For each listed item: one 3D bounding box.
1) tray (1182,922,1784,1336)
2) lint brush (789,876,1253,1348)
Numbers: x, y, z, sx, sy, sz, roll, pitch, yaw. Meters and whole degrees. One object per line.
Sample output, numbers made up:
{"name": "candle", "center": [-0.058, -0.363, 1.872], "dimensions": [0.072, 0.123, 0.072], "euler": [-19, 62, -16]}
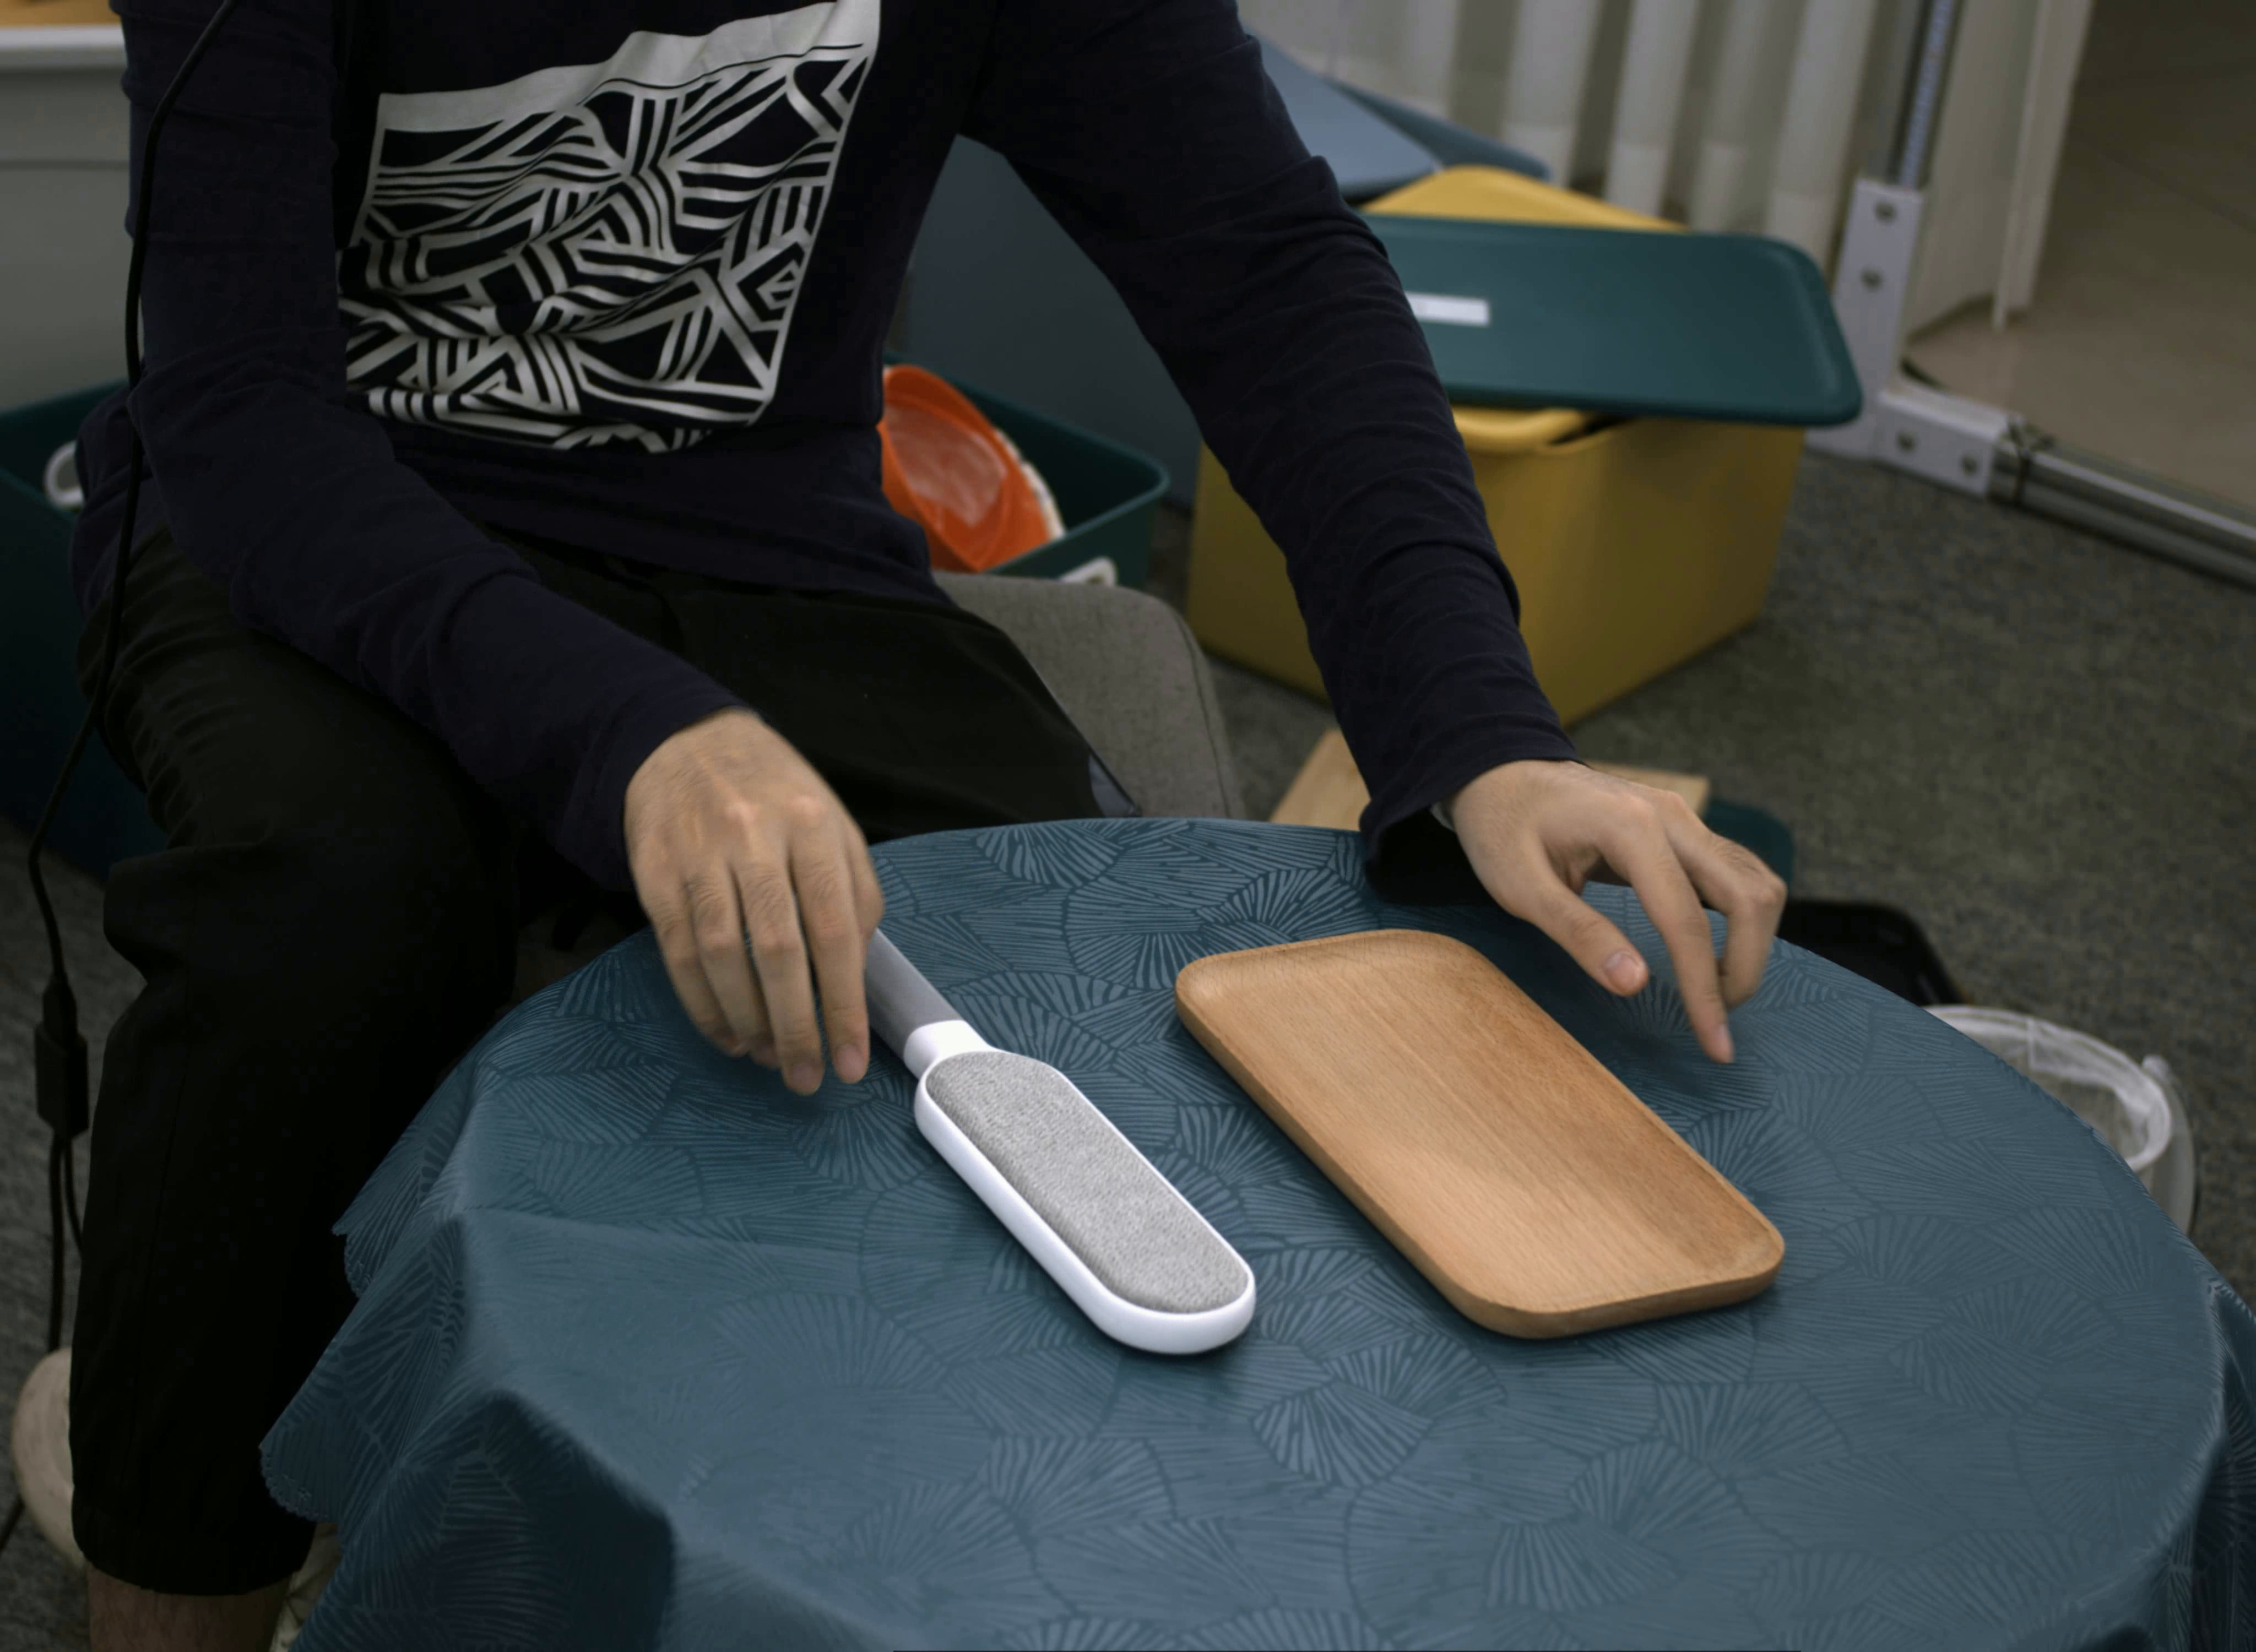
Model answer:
{"name": "tray", "center": [0.119, 0.103, 1.855], "dimensions": [0.129, 0.023, 0.253], "euler": [-4, 28, -25]}
{"name": "lint brush", "center": [-0.044, 0.093, 1.826], "dimensions": [0.060, 0.021, 0.312], "euler": [-13, 32, -24]}
